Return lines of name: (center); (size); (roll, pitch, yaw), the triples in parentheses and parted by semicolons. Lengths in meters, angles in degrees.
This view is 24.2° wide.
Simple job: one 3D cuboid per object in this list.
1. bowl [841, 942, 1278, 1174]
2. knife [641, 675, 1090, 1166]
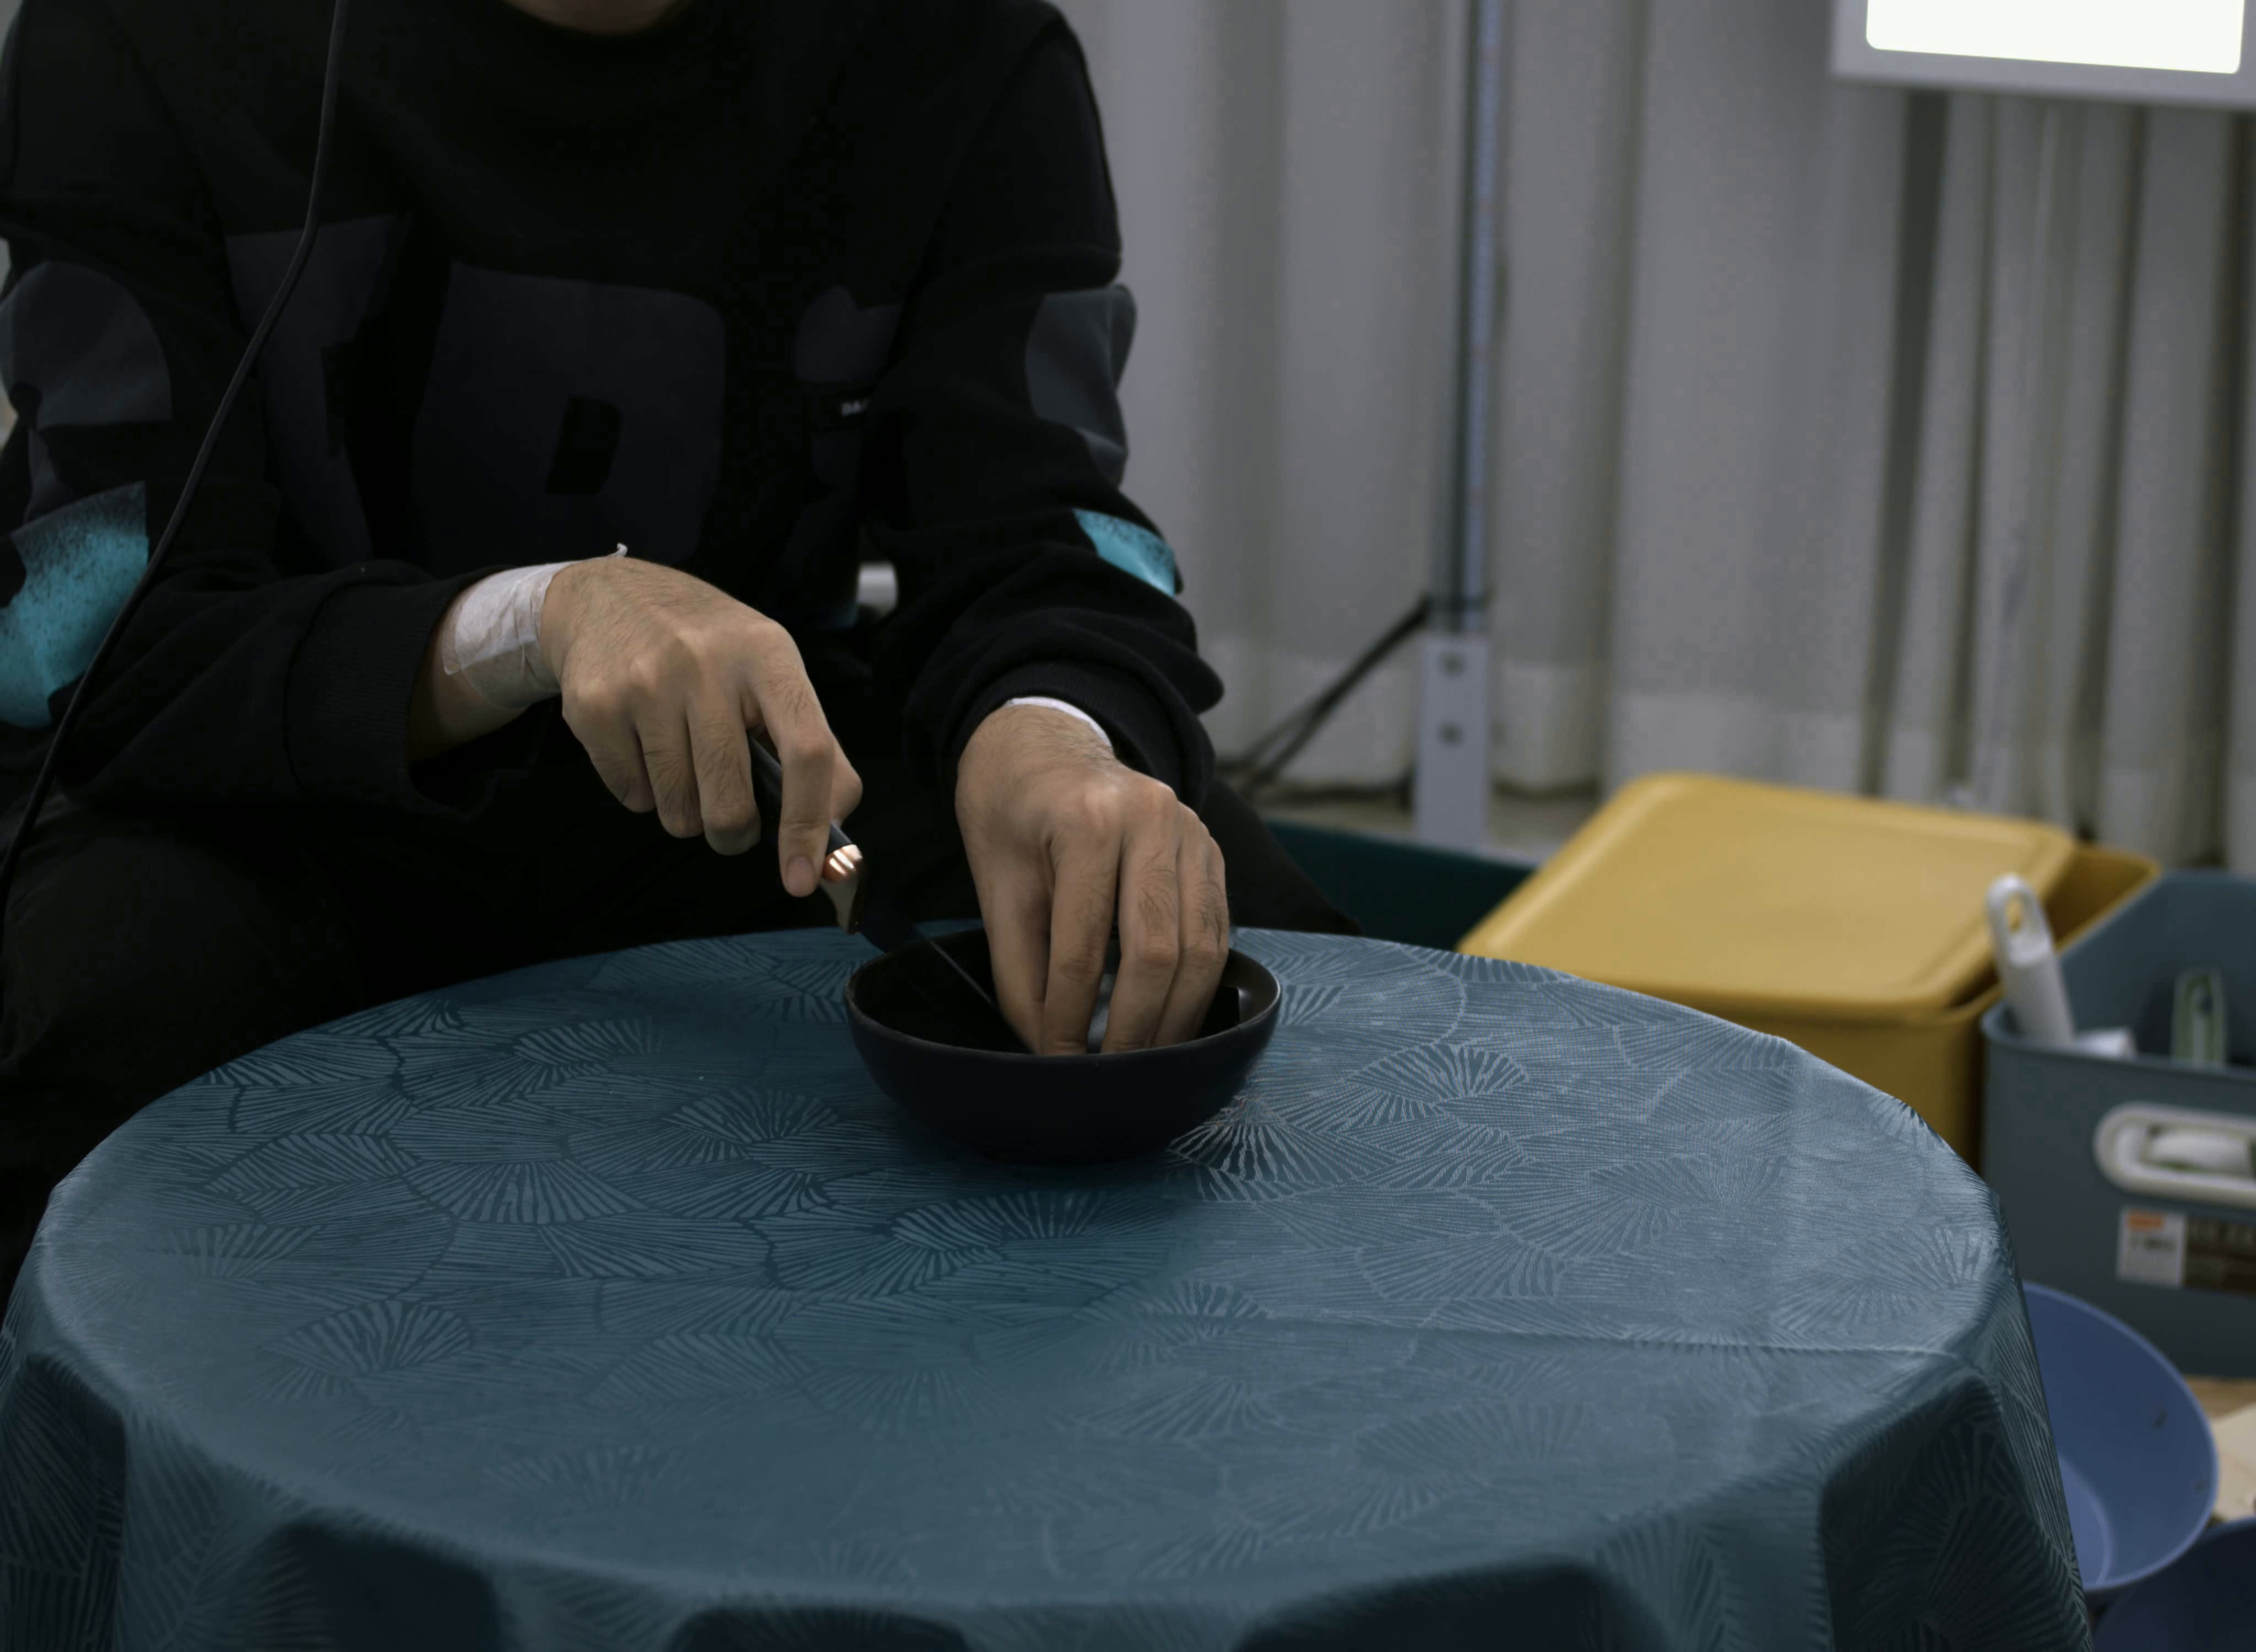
bowl: (-0.020, 0.077, 1.668); (0.139, 0.050, 0.139); (-3, 13, 1)
knife: (-0.084, 0.028, 1.683); (0.017, 0.026, 0.223); (-25, 60, -40)
